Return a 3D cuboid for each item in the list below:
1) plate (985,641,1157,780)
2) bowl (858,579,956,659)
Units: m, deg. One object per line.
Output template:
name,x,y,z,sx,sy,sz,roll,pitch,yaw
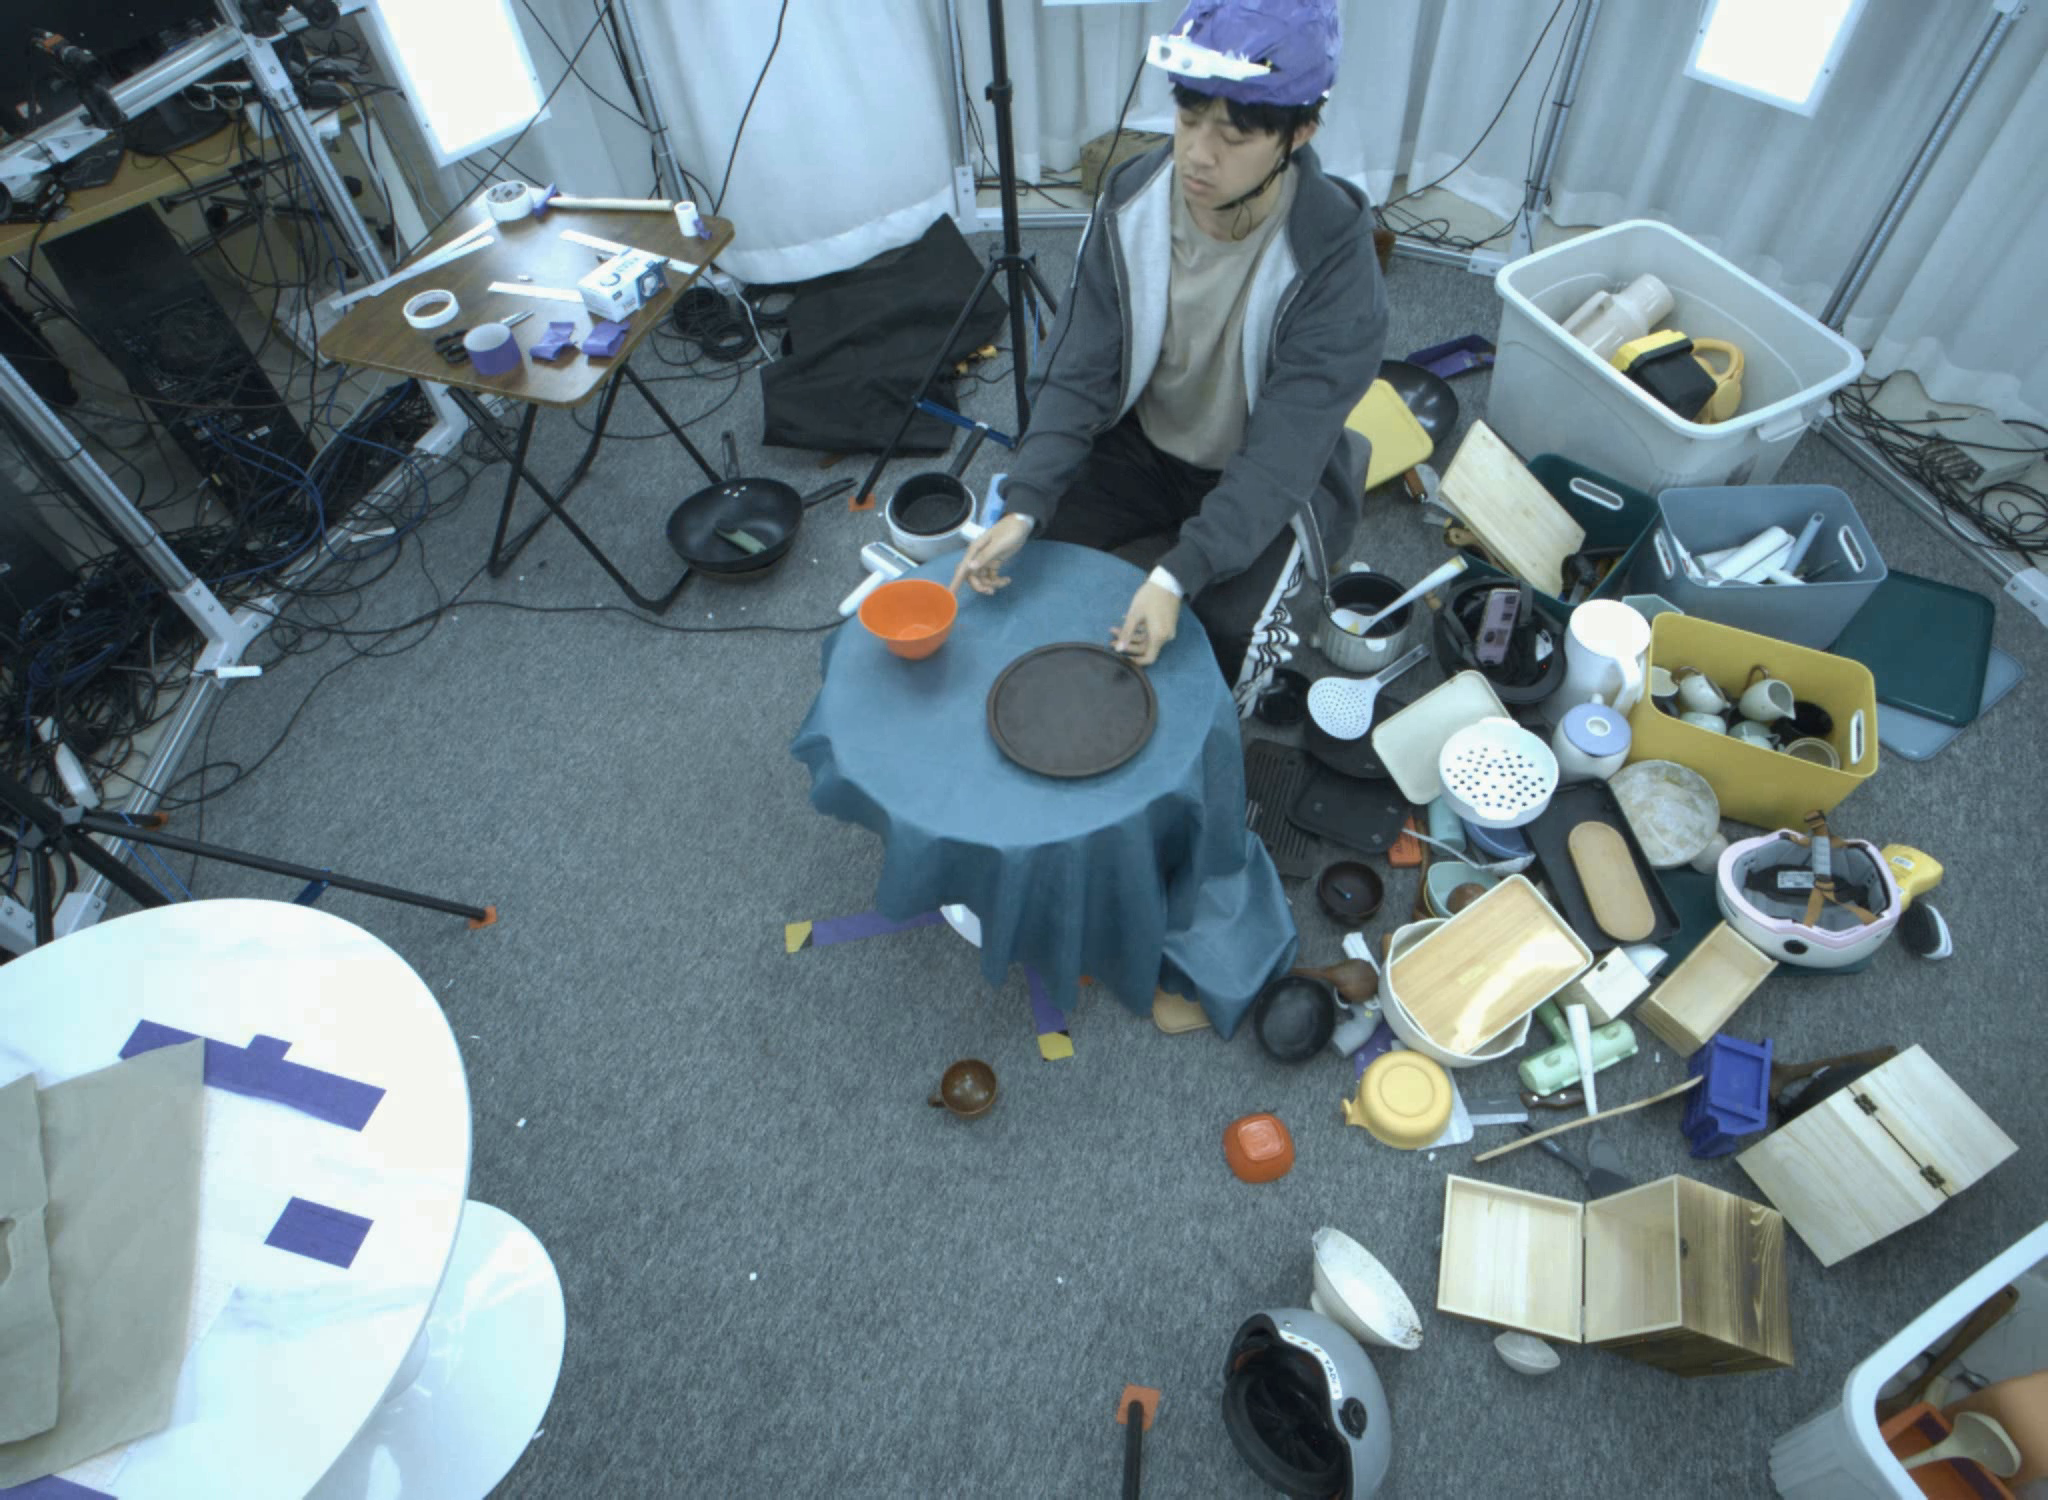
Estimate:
plate,0.069,-0.060,1.816,0.254,0.029,0.252,-1,54,3
bowl,-0.172,-0.187,1.866,0.147,0.106,0.146,-2,55,4
